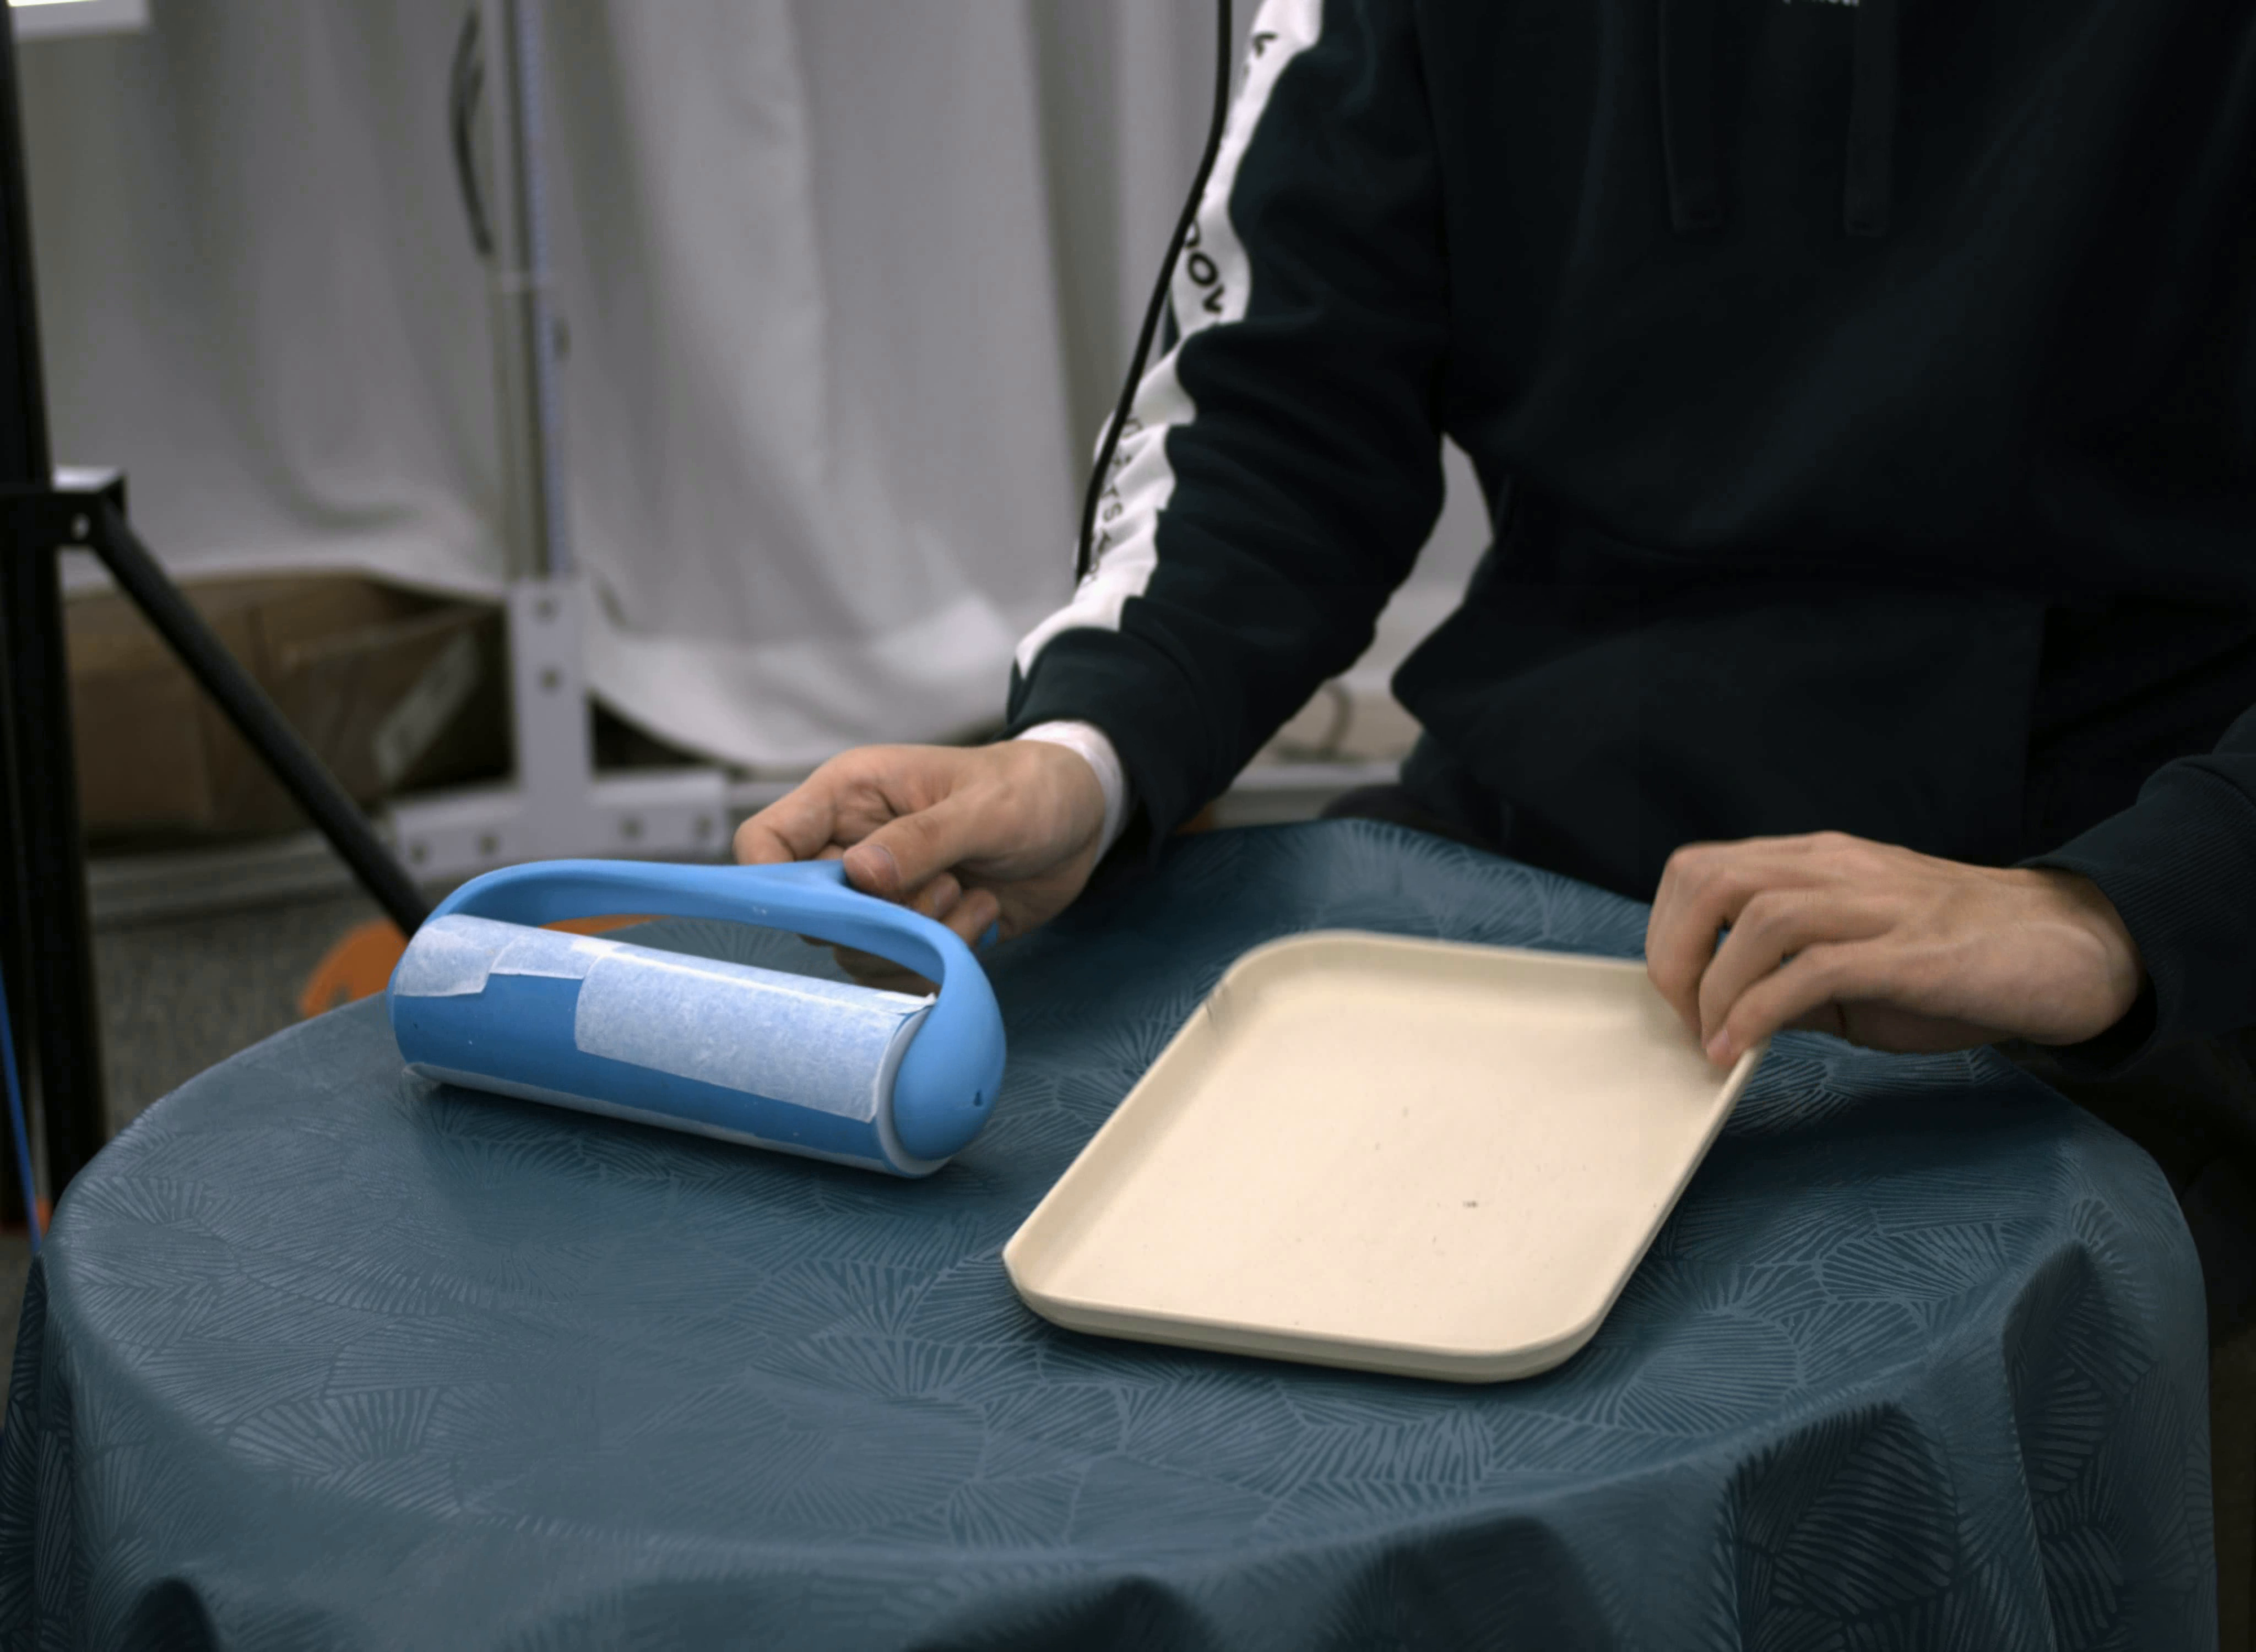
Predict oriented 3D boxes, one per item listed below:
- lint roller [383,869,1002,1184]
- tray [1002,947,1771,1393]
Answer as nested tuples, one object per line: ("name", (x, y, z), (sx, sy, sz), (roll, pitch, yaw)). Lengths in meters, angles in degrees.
("lint roller", (-0.106, 0.045, 1.671), (0.233, 0.068, 0.177), (6, 25, 34))
("tray", (0.078, 0.096, 1.508), (0.173, 0.017, 0.237), (6, 25, 22))
